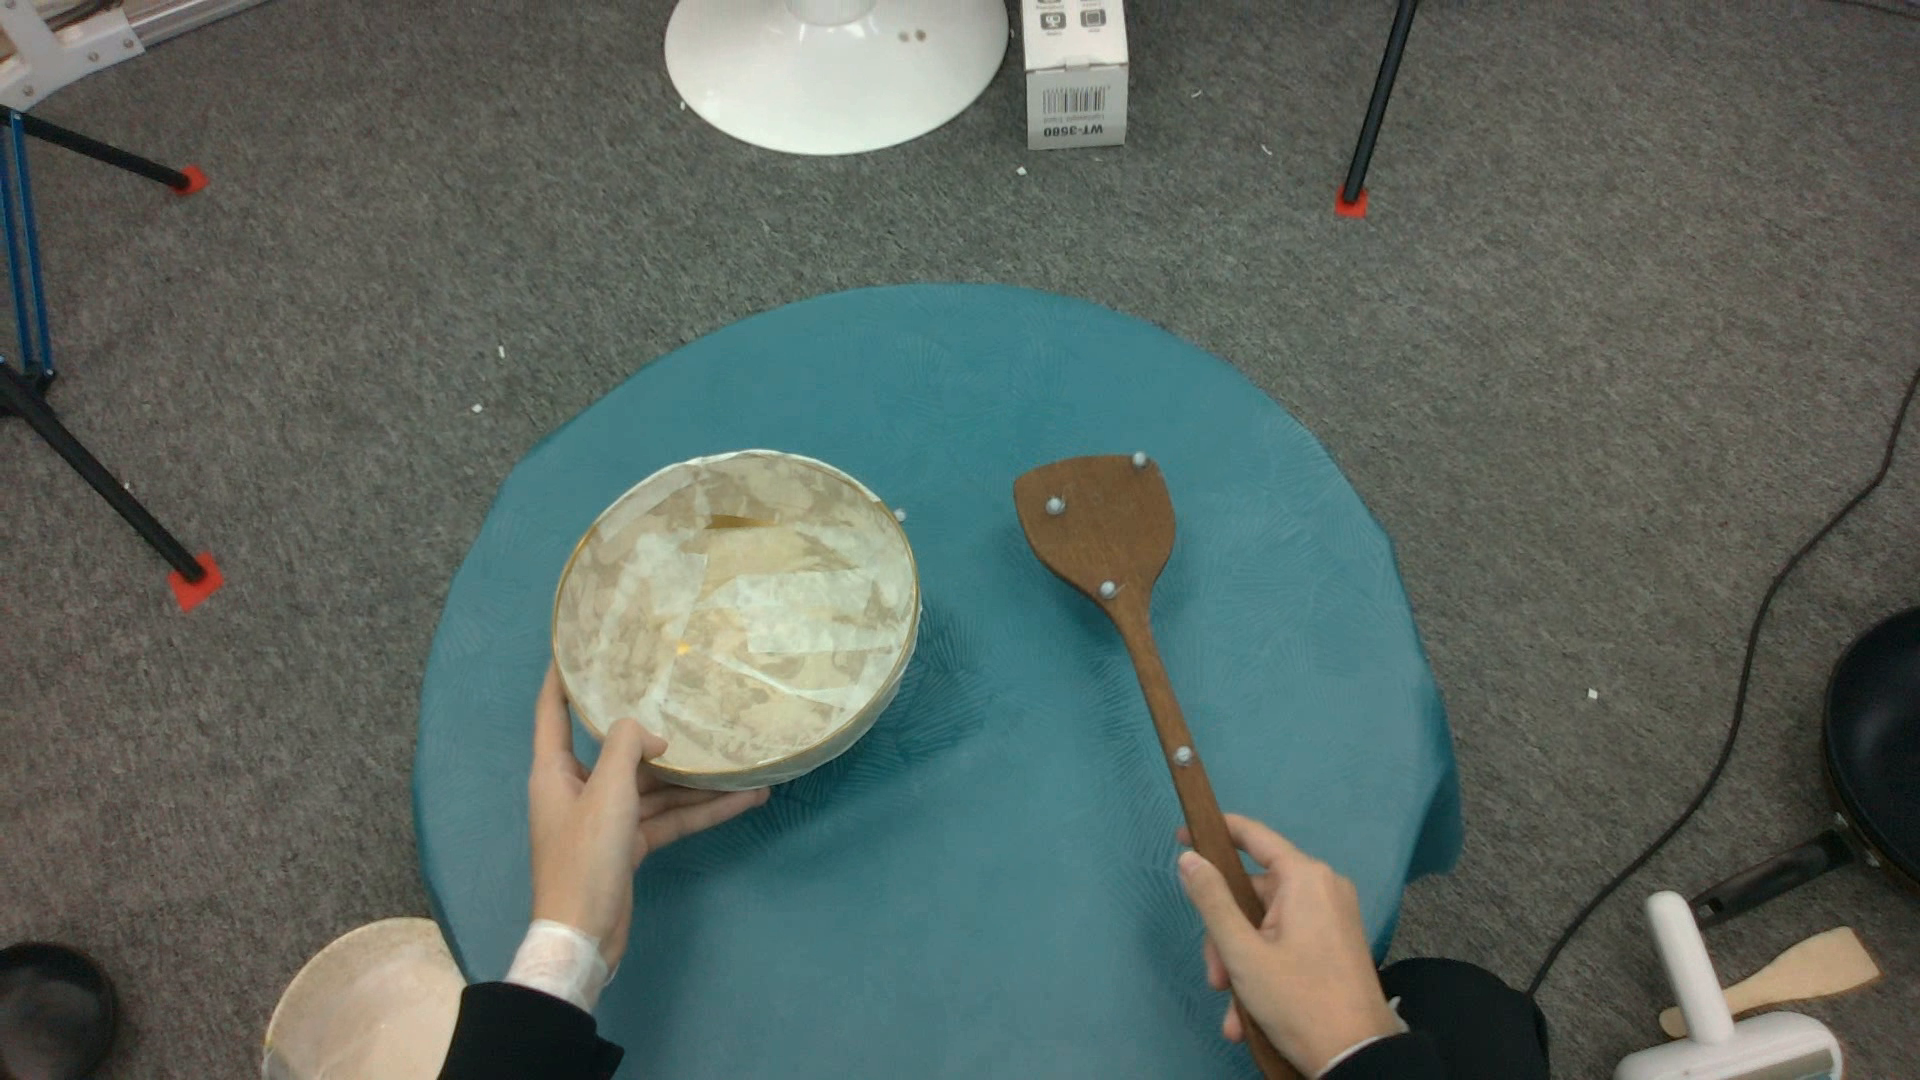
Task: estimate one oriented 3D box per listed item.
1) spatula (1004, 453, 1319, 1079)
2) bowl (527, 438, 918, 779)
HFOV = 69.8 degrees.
[{"bbox_3d":[0.110,0.097,0.736,0.096,0.016,0.387,-9,52,-10],"label":"spatula"},{"bbox_3d":[-0.126,0.052,0.780,0.215,0.094,0.215,0,58,1],"label":"bowl"}]
